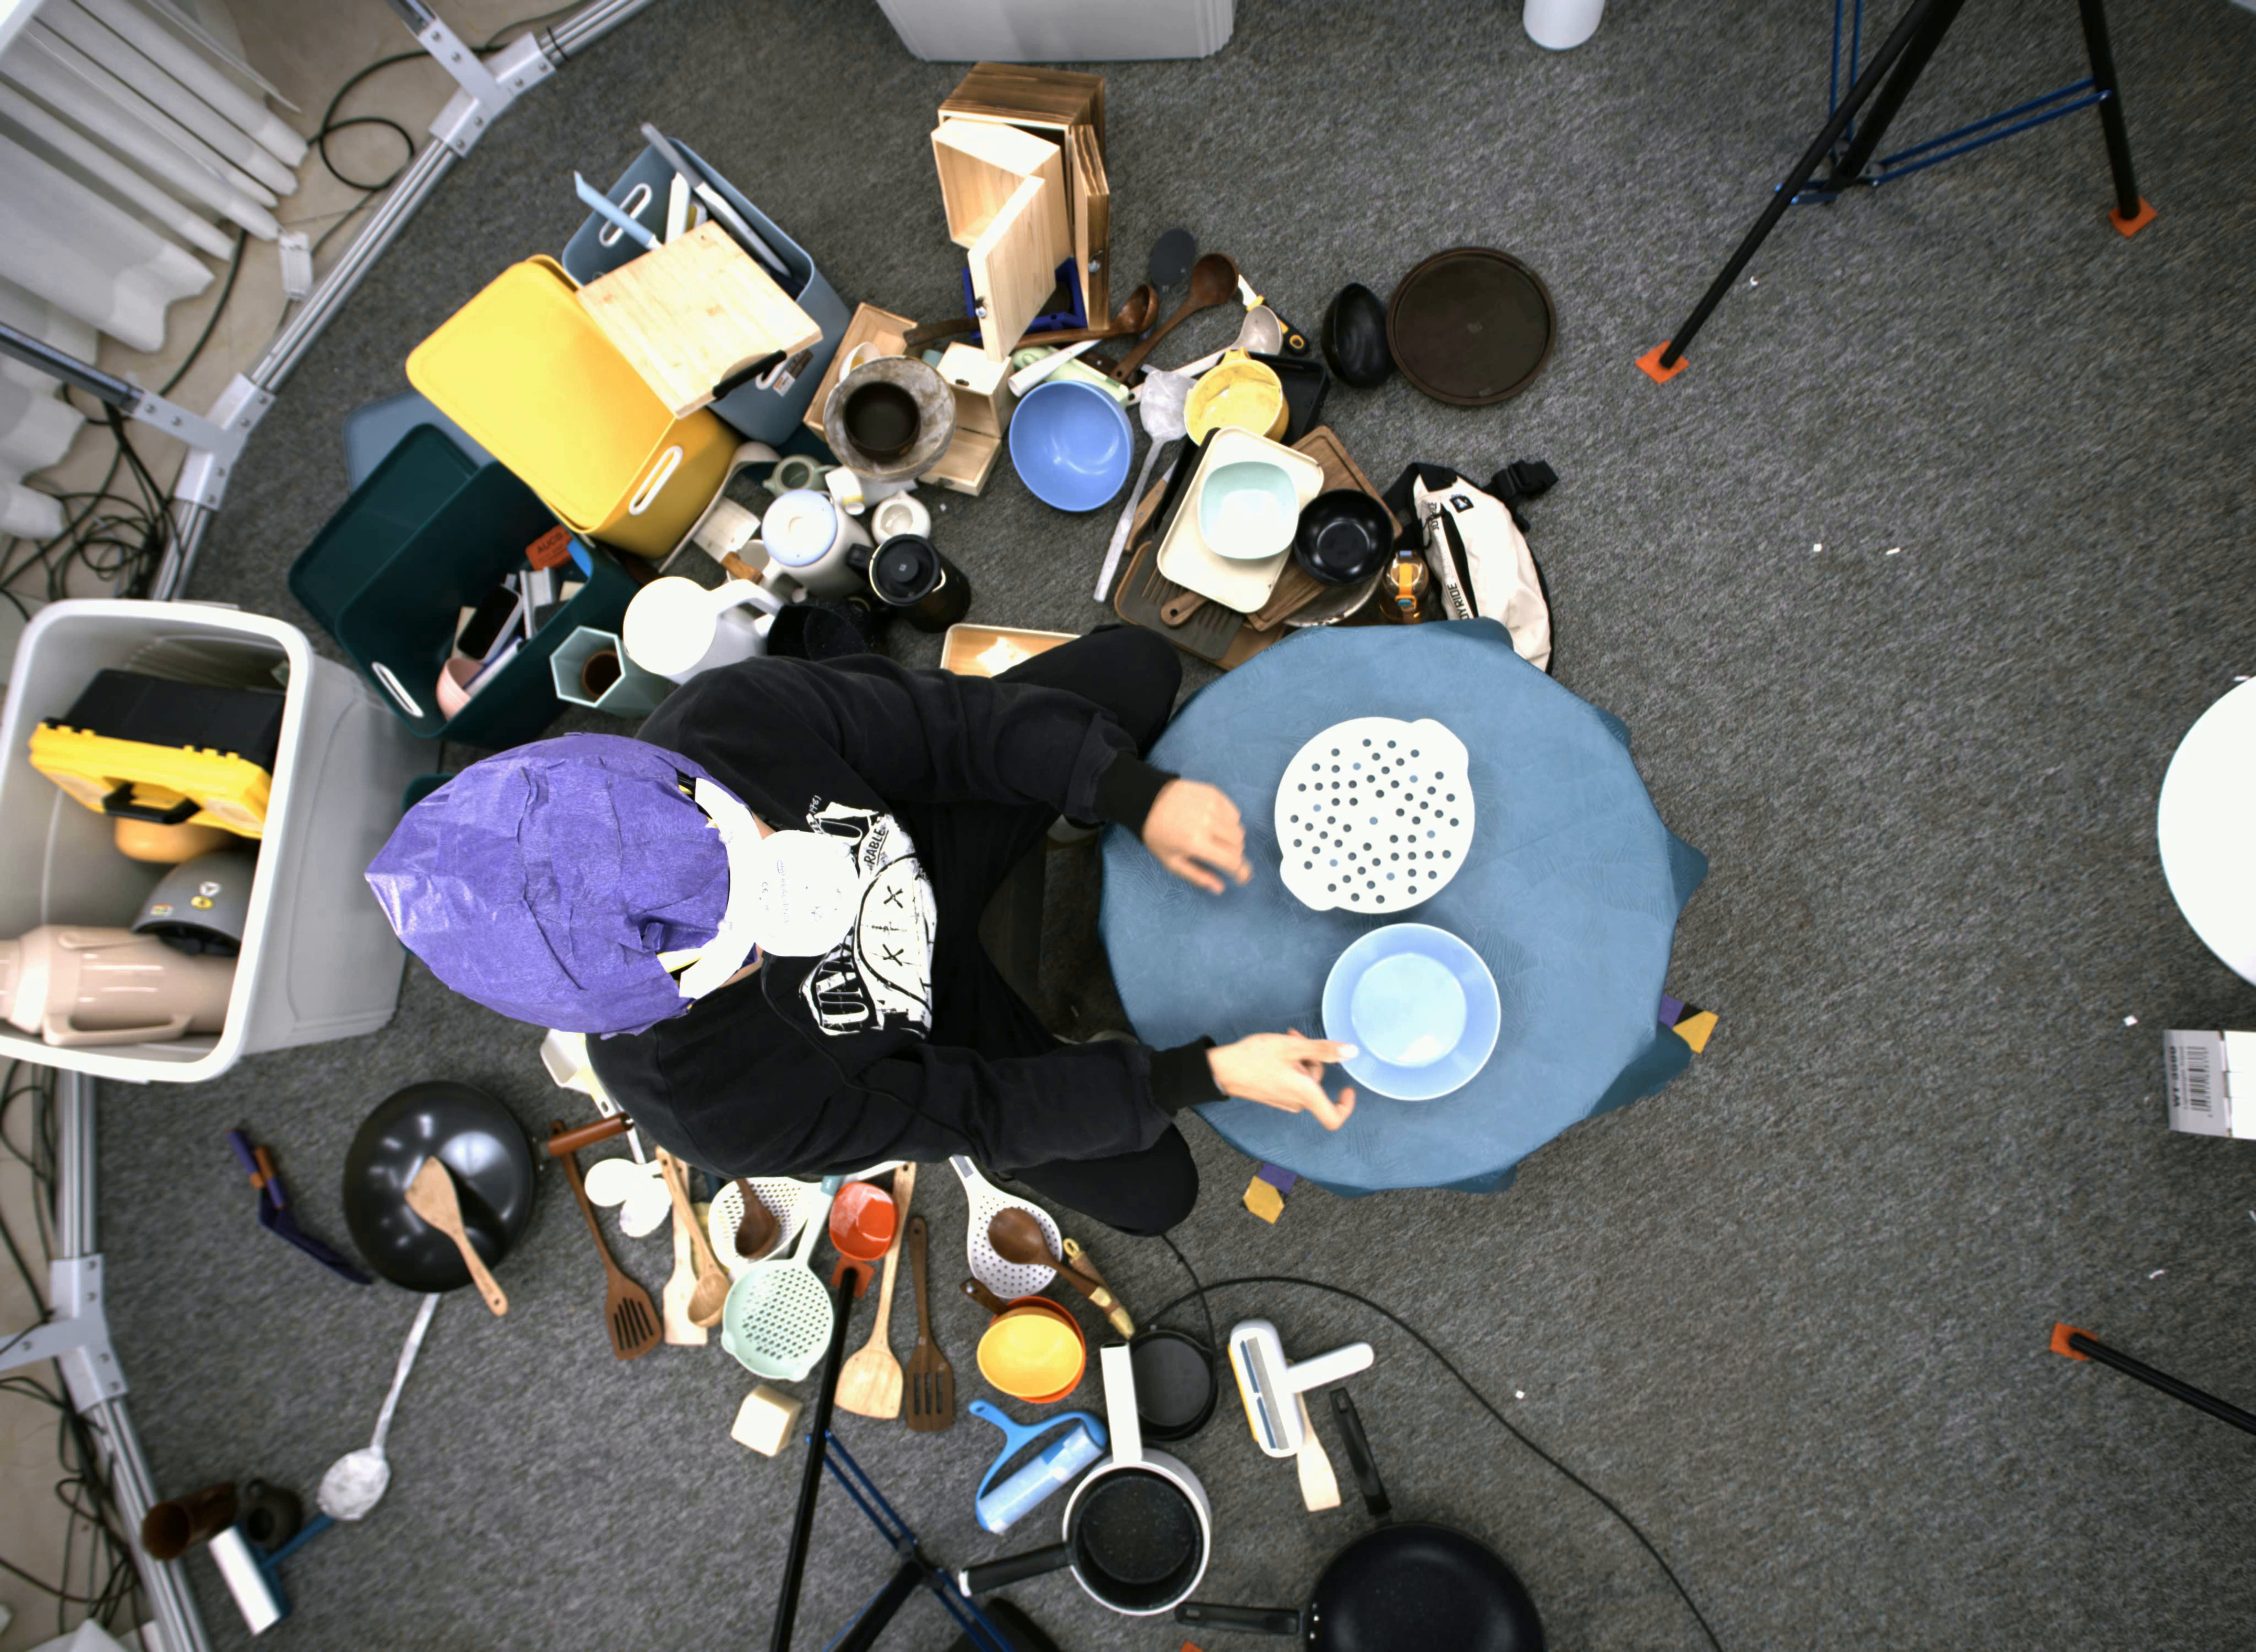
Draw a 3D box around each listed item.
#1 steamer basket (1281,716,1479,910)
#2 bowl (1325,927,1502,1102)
[{"bbox_3d":[0.261,-0.012,1.437,0.201,0.069,0.231,44,92,10],"label":"steamer basket"},{"bbox_3d":[0.290,0.191,1.417,0.177,0.070,0.175,-1,86,9],"label":"bowl"}]
